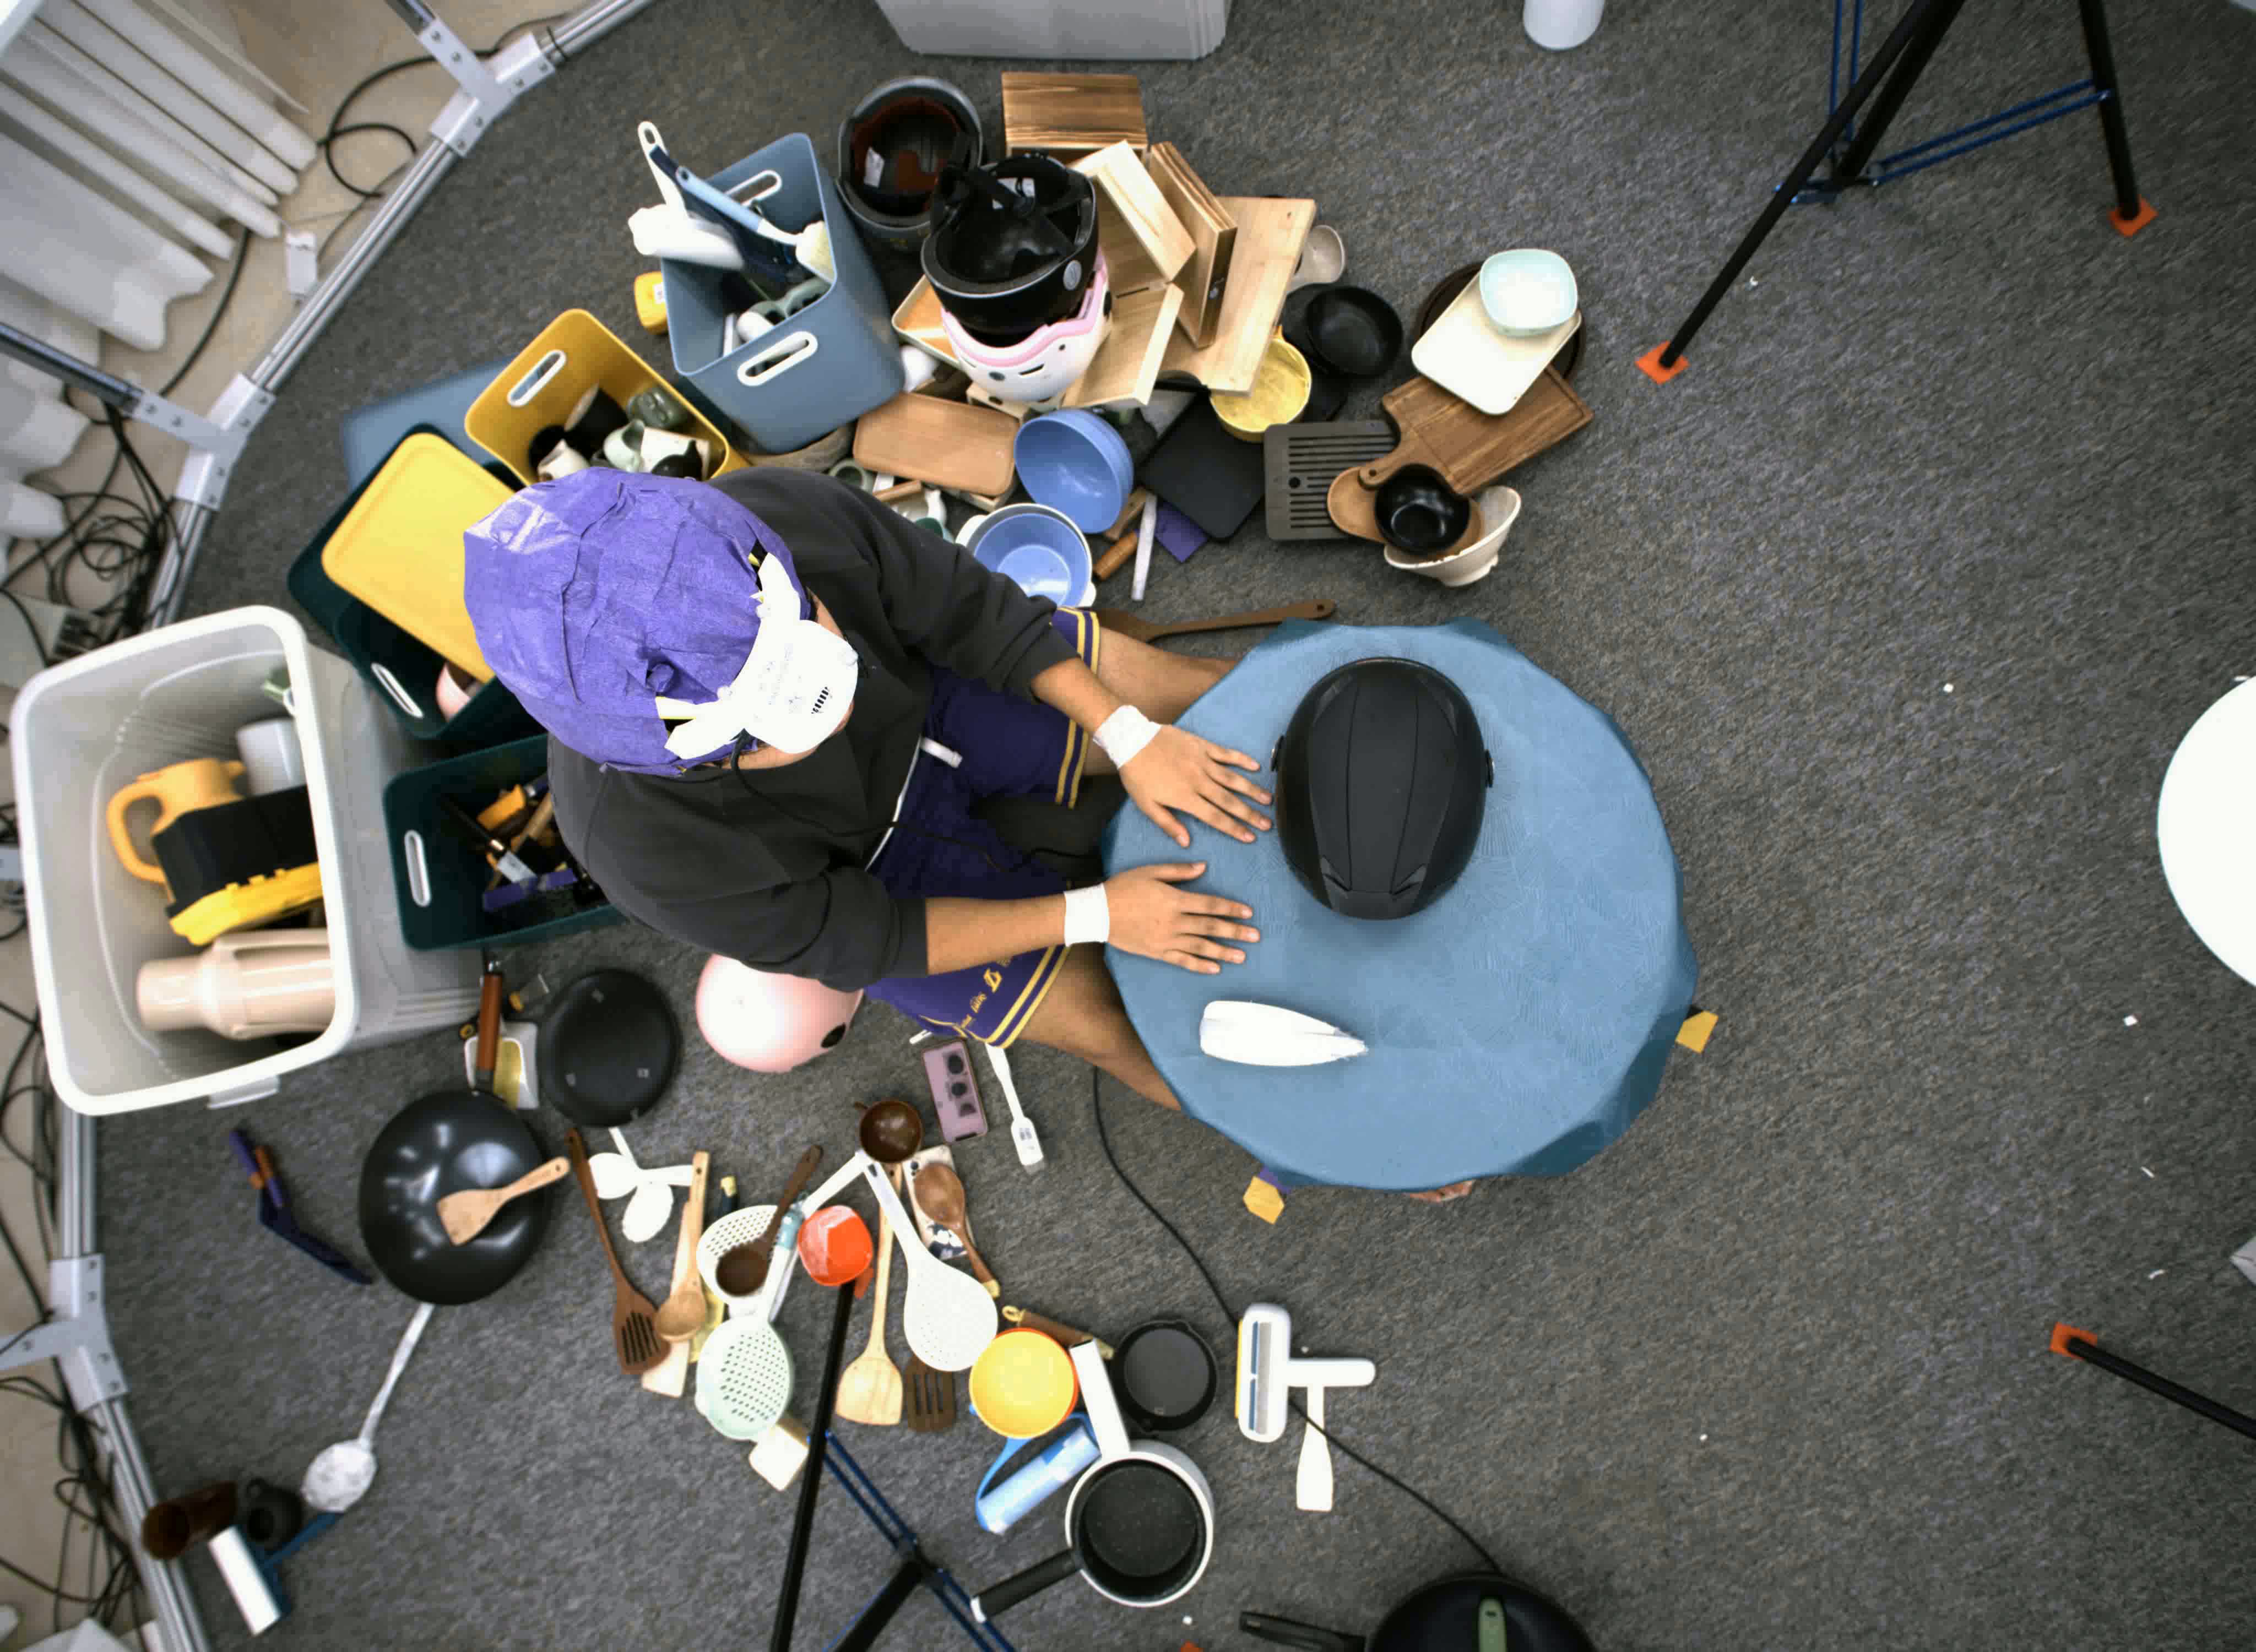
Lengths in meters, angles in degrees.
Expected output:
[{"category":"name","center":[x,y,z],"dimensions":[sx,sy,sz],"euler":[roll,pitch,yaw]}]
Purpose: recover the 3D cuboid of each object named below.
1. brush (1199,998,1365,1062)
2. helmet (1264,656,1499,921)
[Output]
[{"category":"brush","center":[0.157,0.214,1.426],"dimensions":[0.176,0.094,0.061],"euler":[7,87,8]},{"category":"helmet","center":[0.256,-0.043,1.388],"dimensions":[0.247,0.172,0.277],"euler":[7,91,10]}]
